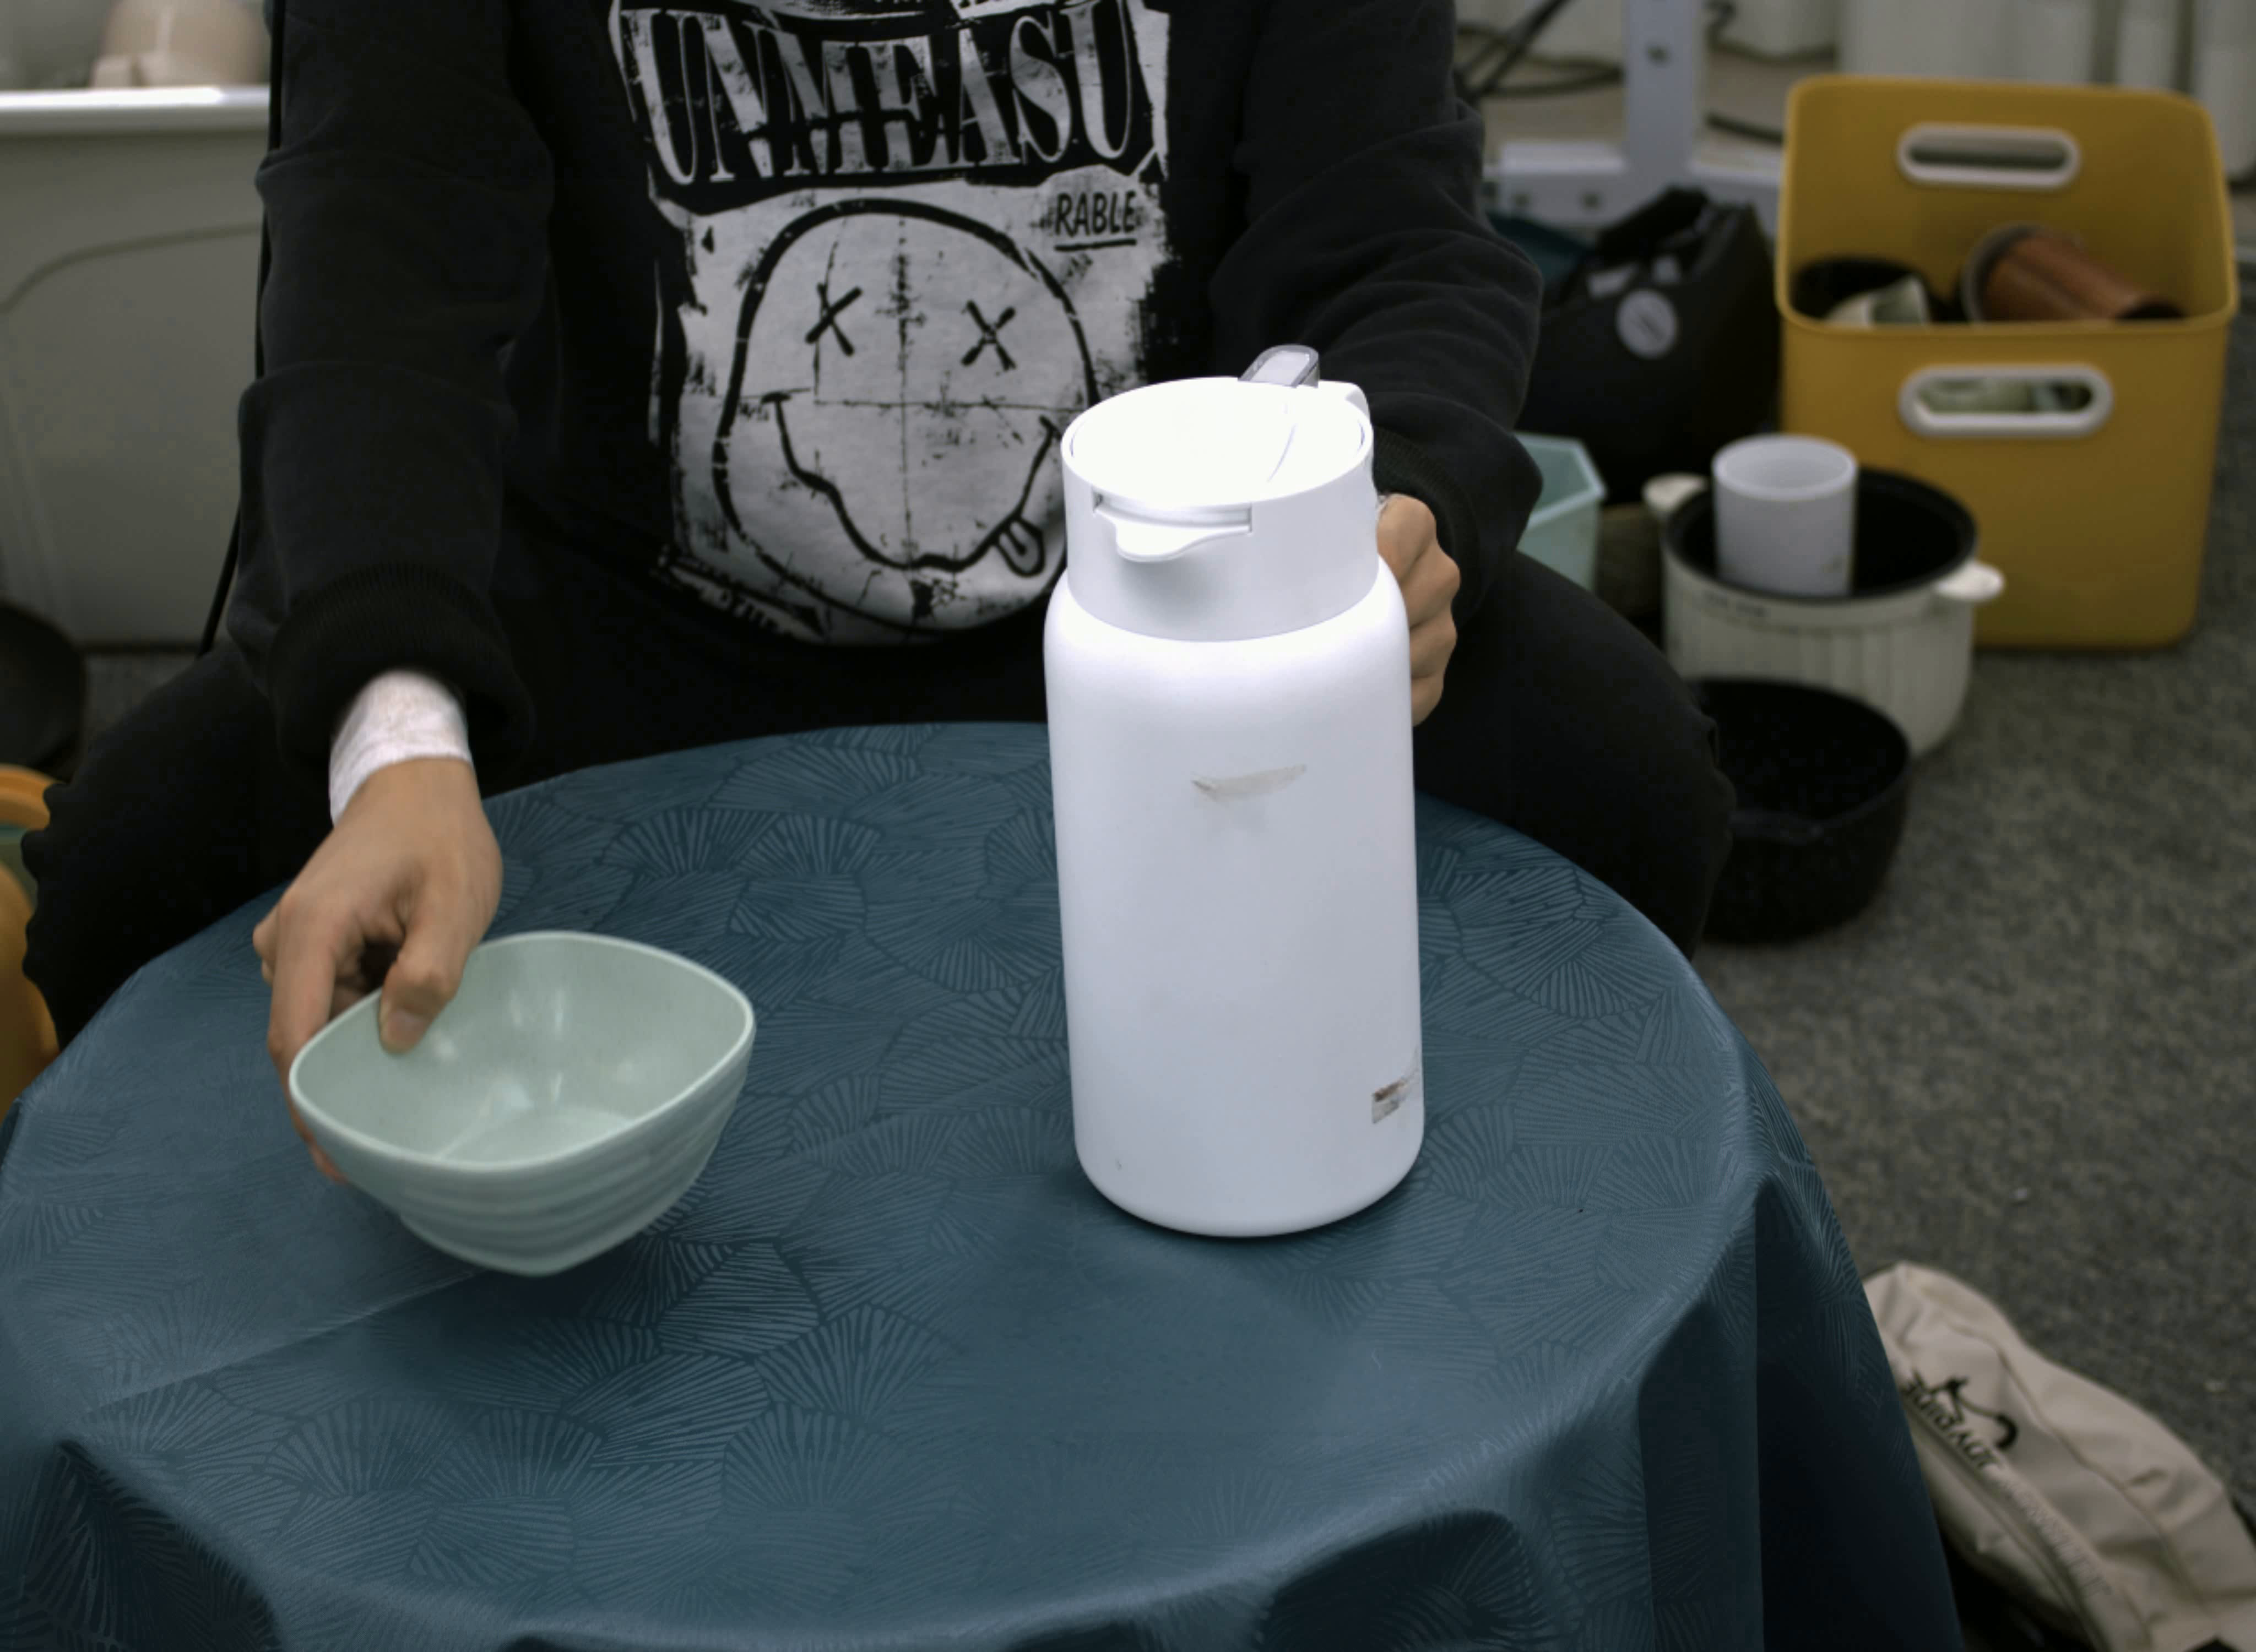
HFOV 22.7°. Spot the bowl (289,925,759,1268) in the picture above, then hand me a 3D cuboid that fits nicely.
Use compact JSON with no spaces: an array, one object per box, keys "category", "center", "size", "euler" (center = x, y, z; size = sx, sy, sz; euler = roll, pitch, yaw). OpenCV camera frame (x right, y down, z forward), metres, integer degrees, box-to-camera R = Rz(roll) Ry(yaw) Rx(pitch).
[{"category":"bowl","center":[-0.191,0.093,1.809],"size":[0.150,0.058,0.154],"euler":[-4,27,2]}]

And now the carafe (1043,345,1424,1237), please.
[{"category":"carafe","center":[0.039,-0.015,1.833],"size":[0.123,0.266,0.176],"euler":[5,27,20]}]
